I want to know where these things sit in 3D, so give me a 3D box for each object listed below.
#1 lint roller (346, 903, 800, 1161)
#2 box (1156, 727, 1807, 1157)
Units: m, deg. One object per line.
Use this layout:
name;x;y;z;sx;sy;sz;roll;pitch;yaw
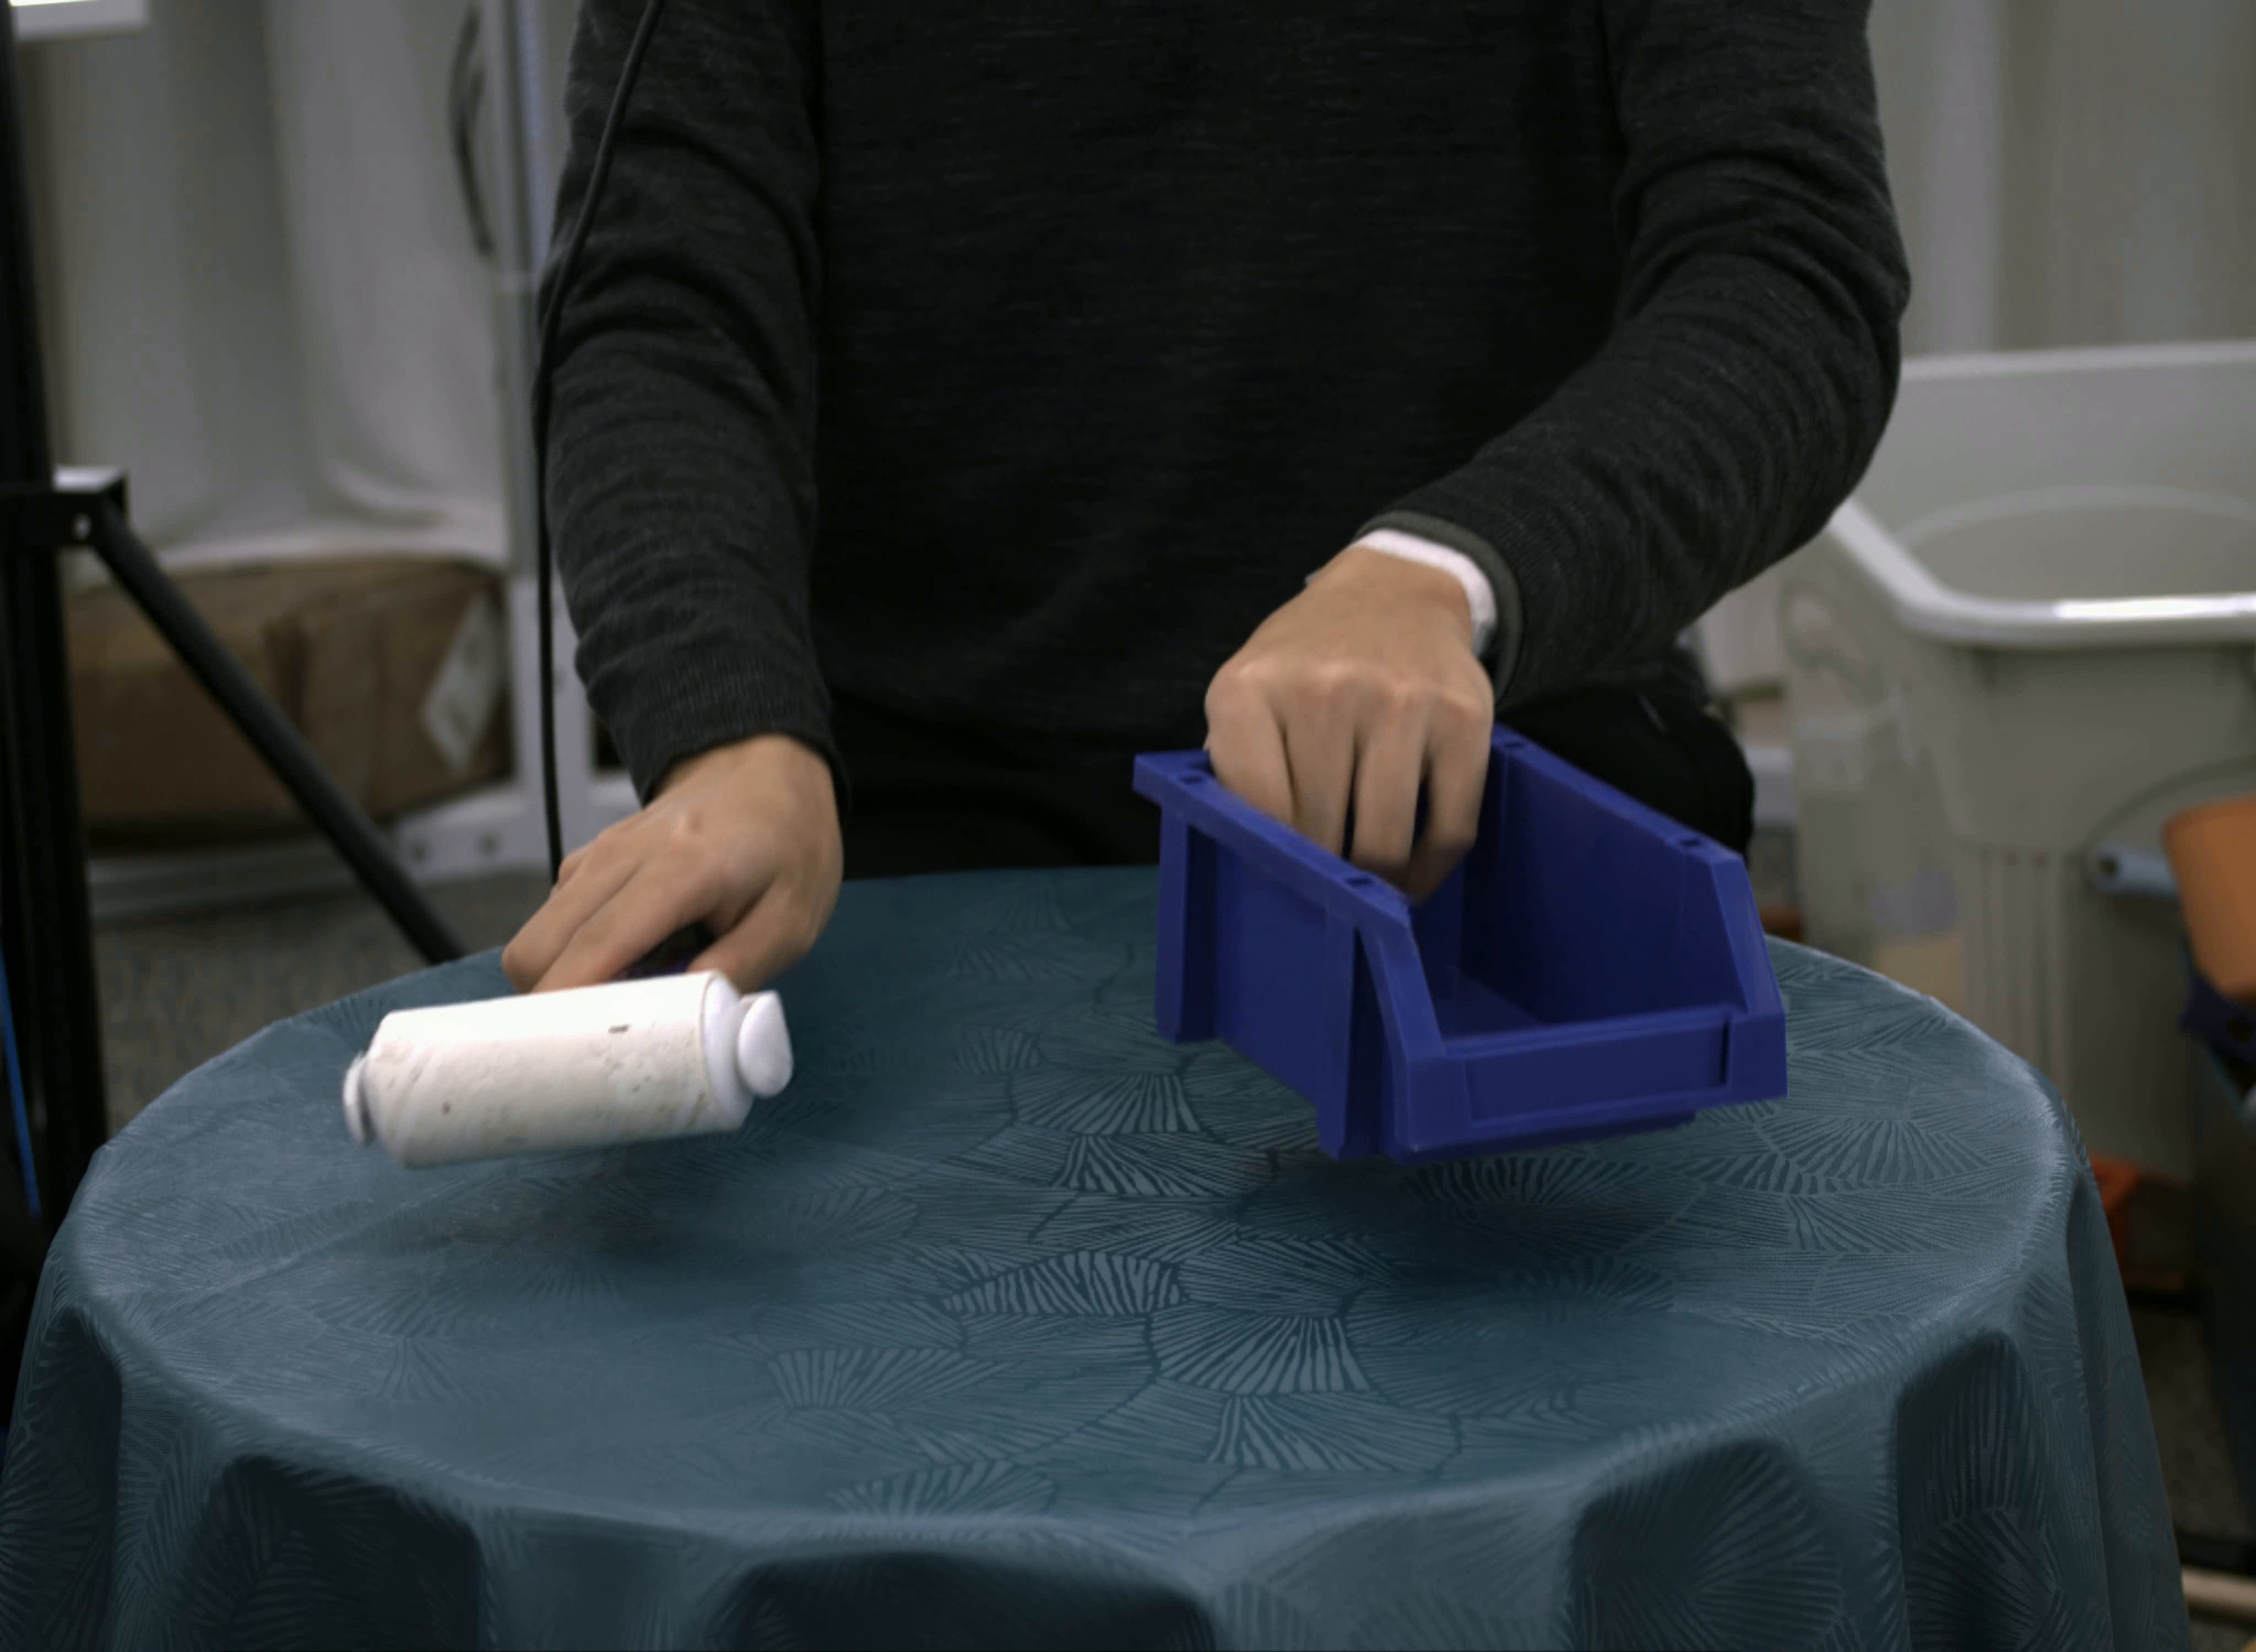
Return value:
lint roller;-0.149;0.044;1.591;0.134;0.050;0.180;-9;20;14
box;0.100;0.035;1.513;0.122;0.082;0.183;-5;15;-23
